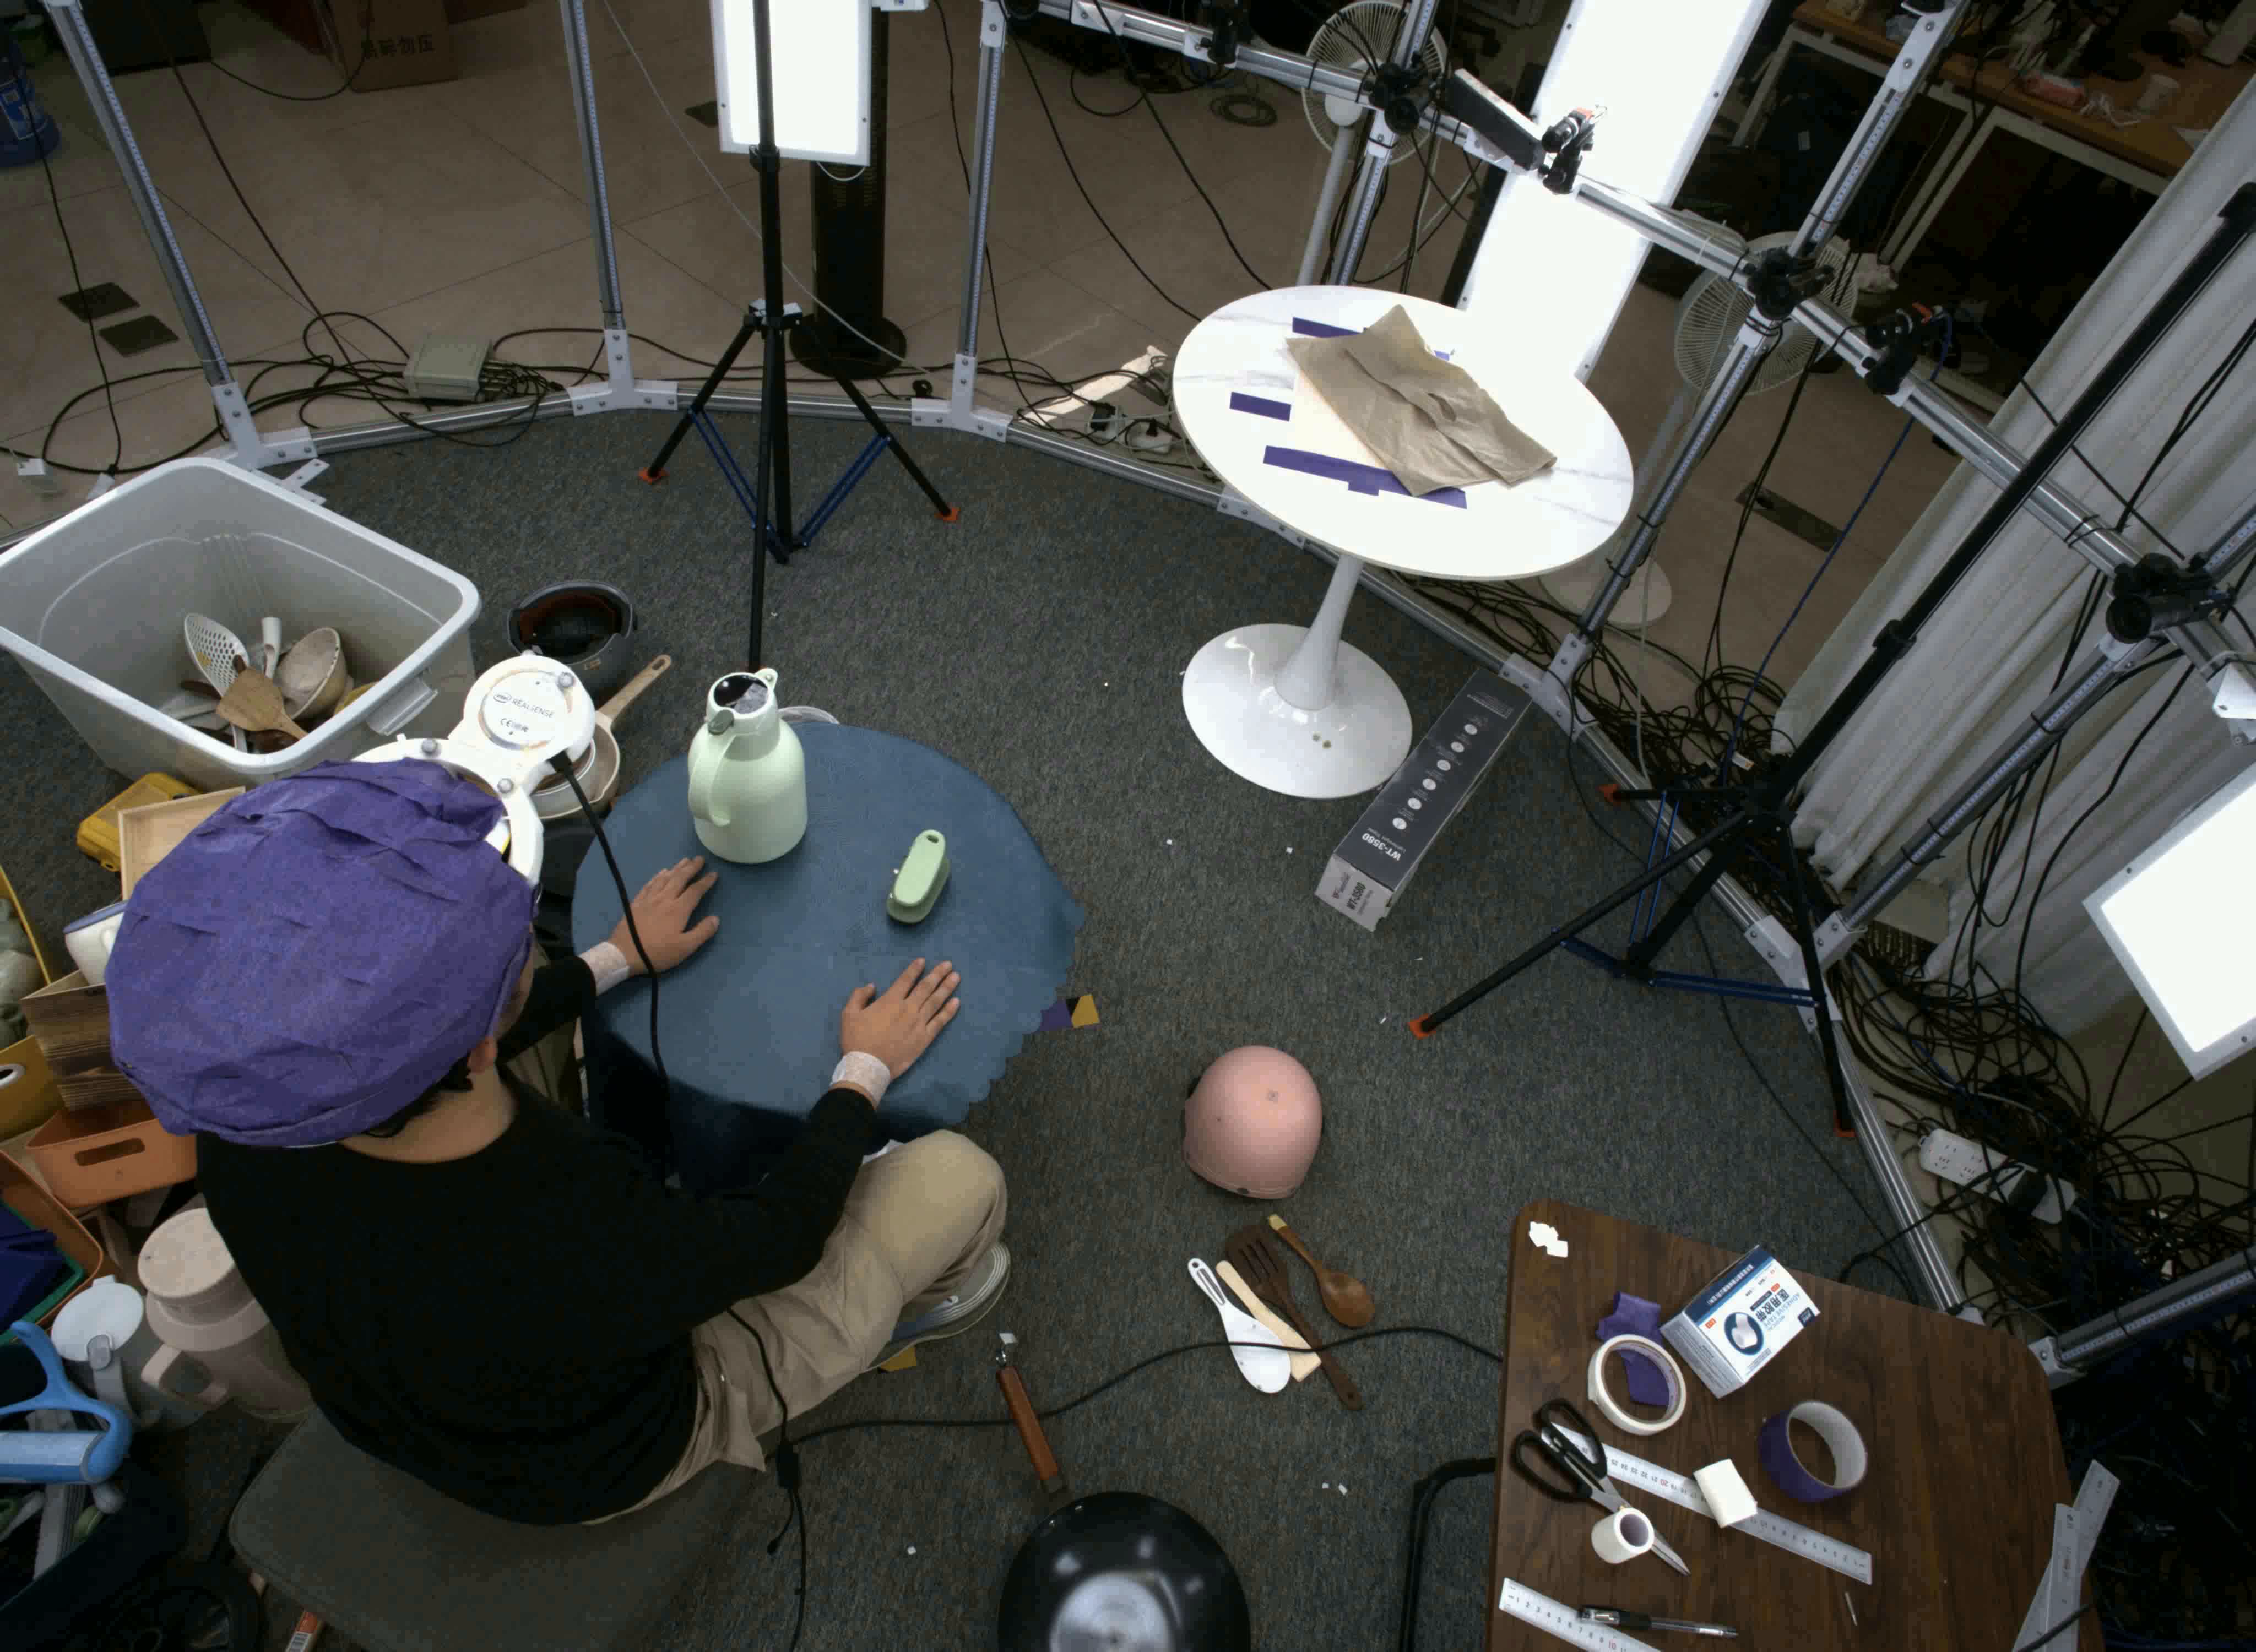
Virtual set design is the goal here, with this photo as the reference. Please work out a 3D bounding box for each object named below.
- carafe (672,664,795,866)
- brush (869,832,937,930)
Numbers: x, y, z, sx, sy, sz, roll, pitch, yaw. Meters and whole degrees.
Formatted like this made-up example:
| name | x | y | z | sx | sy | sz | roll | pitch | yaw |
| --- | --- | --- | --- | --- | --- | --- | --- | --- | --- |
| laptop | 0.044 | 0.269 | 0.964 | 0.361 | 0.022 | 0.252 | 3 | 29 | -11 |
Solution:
| name | x | y | z | sx | sy | sz | roll | pitch | yaw |
| --- | --- | --- | --- | --- | --- | --- | --- | --- | --- |
| carafe | -0.495 | -0.068 | 1.584 | 0.142 | 0.262 | 0.185 | 19 | 53 | 4 |
| brush | -0.288 | 0.072 | 1.672 | 0.059 | 0.077 | 0.122 | 23 | 69 | 3 |
